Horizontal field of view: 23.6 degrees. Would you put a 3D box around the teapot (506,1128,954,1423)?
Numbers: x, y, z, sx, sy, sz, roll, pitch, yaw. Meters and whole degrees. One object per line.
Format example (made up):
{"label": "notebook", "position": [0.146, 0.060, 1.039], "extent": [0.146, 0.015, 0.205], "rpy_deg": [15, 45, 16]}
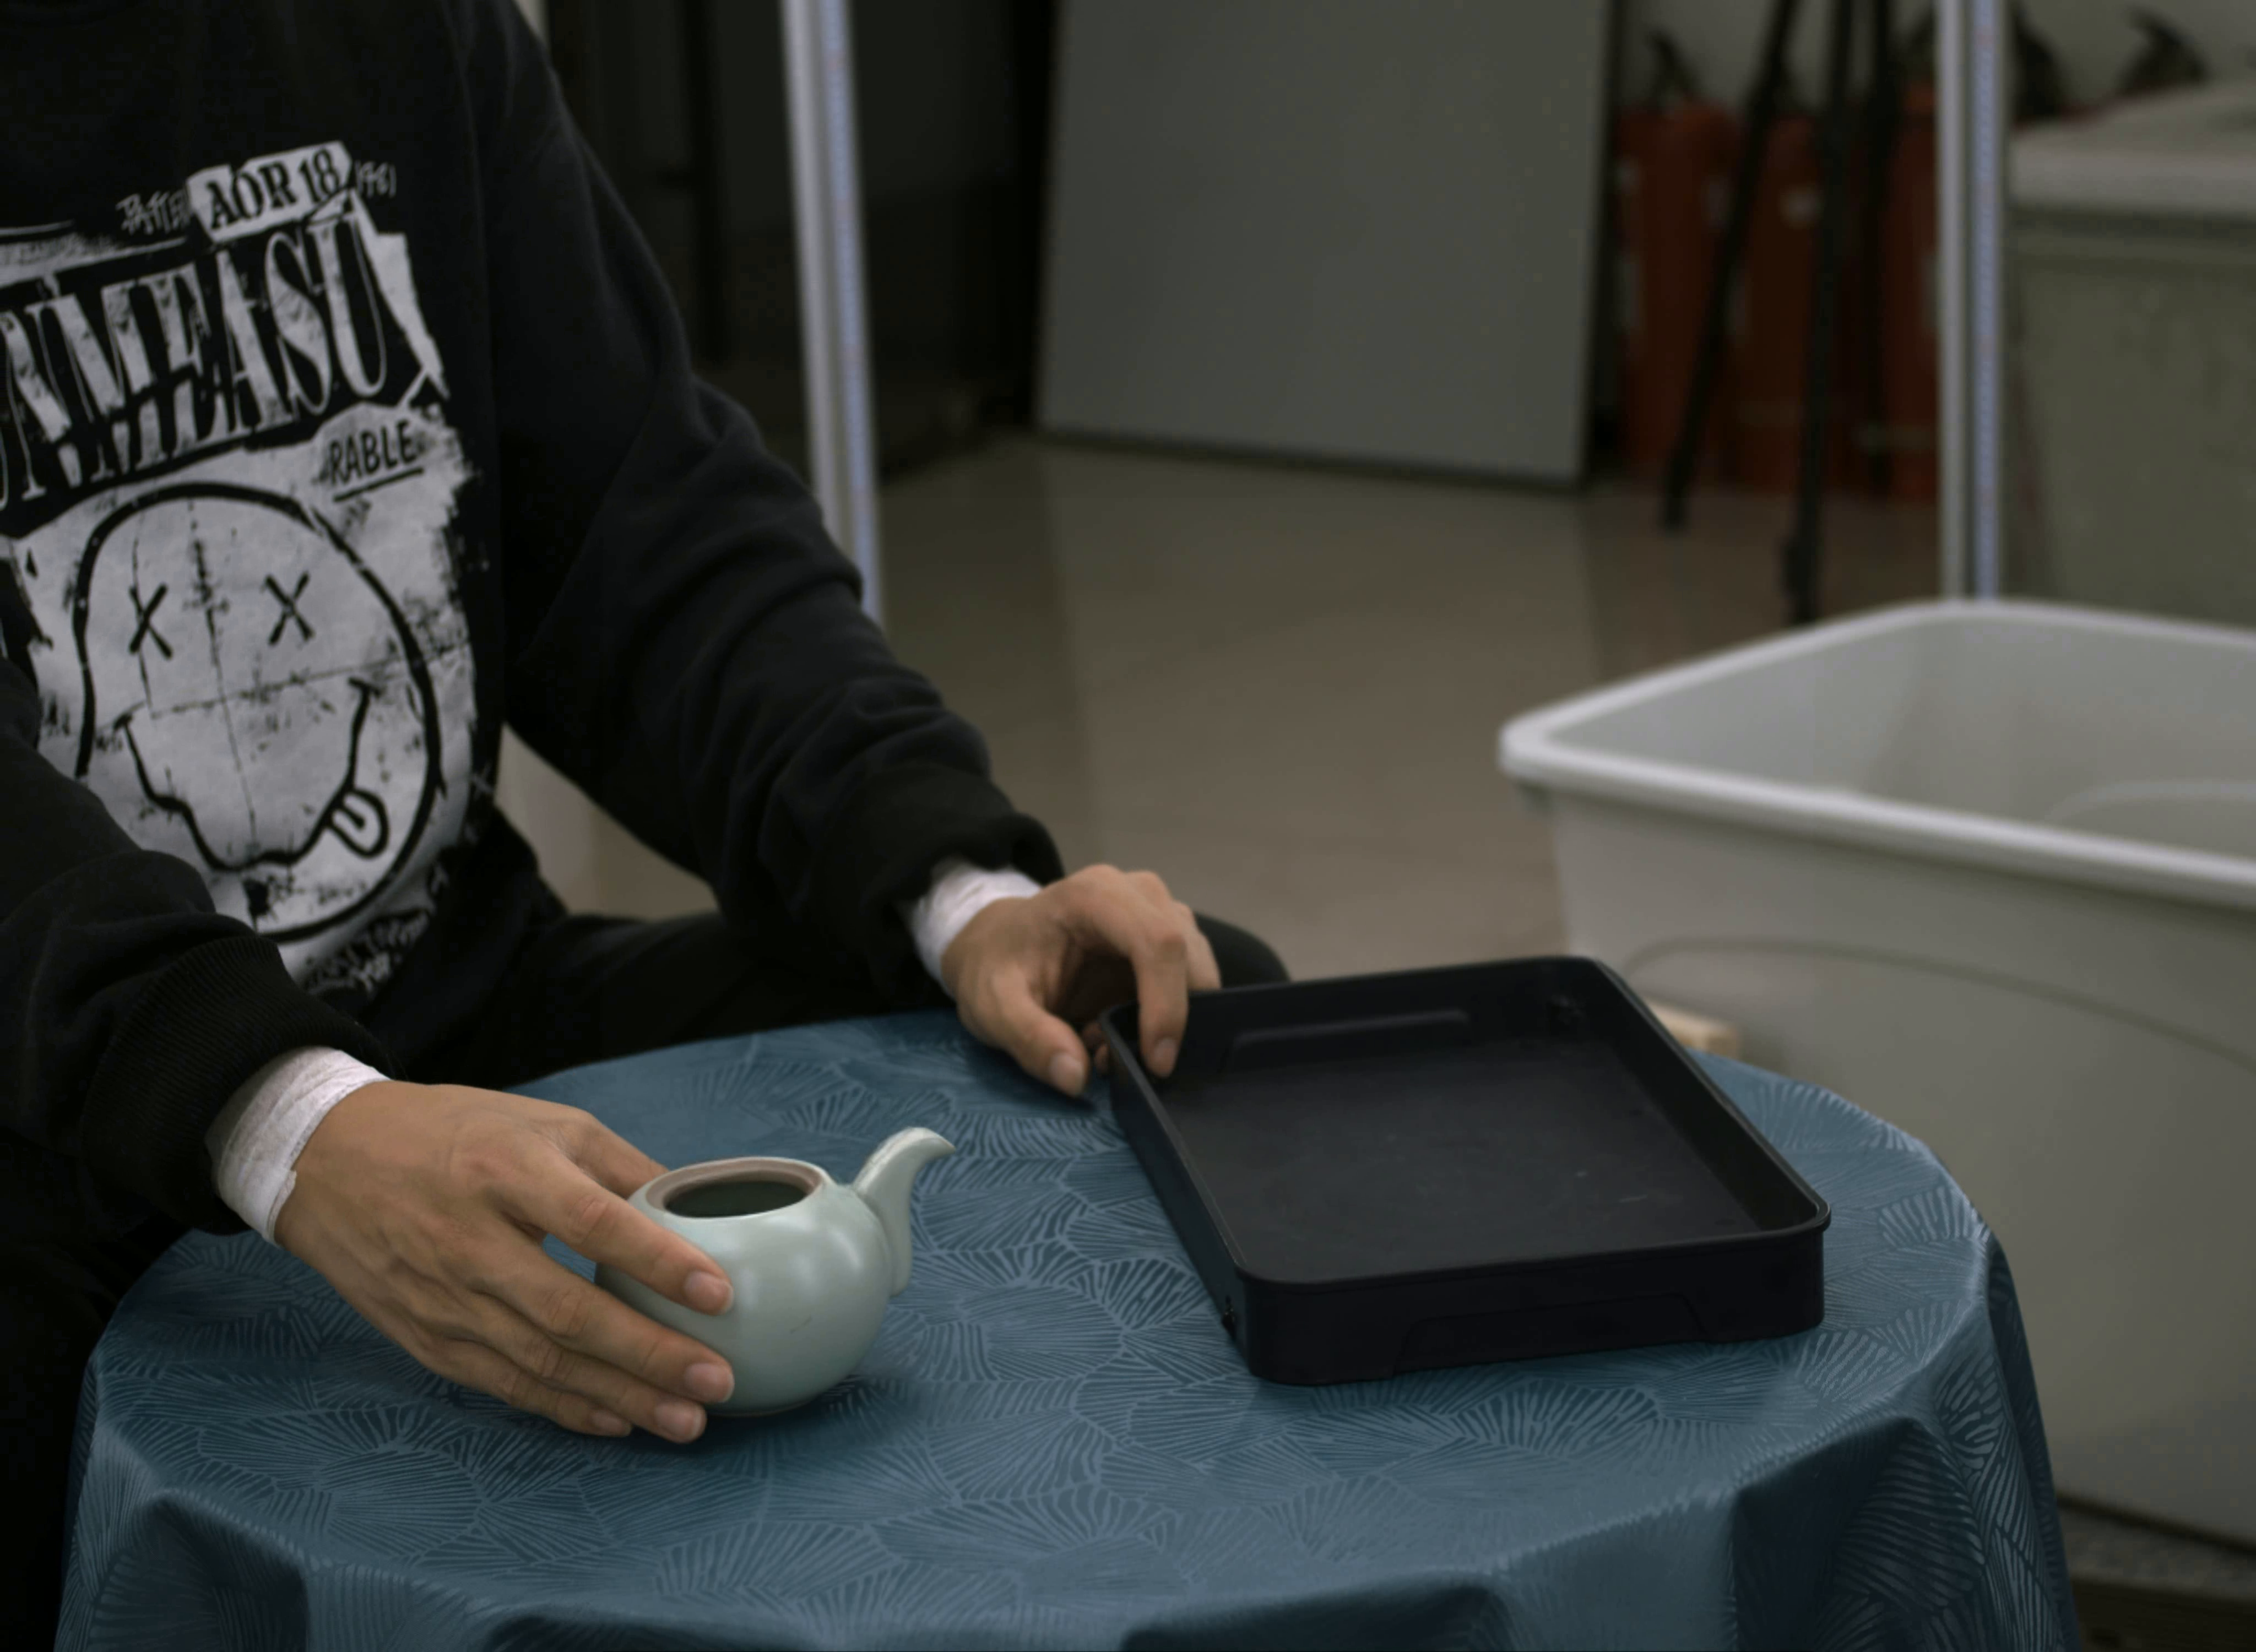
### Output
{"label": "teapot", "position": [-0.115, 0.135, 1.601], "extent": [0.141, 0.075, 0.089], "rpy_deg": [-8, 14, -22]}

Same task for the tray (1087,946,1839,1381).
{"label": "tray", "position": [0.101, 0.104, 1.739], "extent": [0.181, 0.037, 0.320], "rpy_deg": [-7, 14, -9]}
